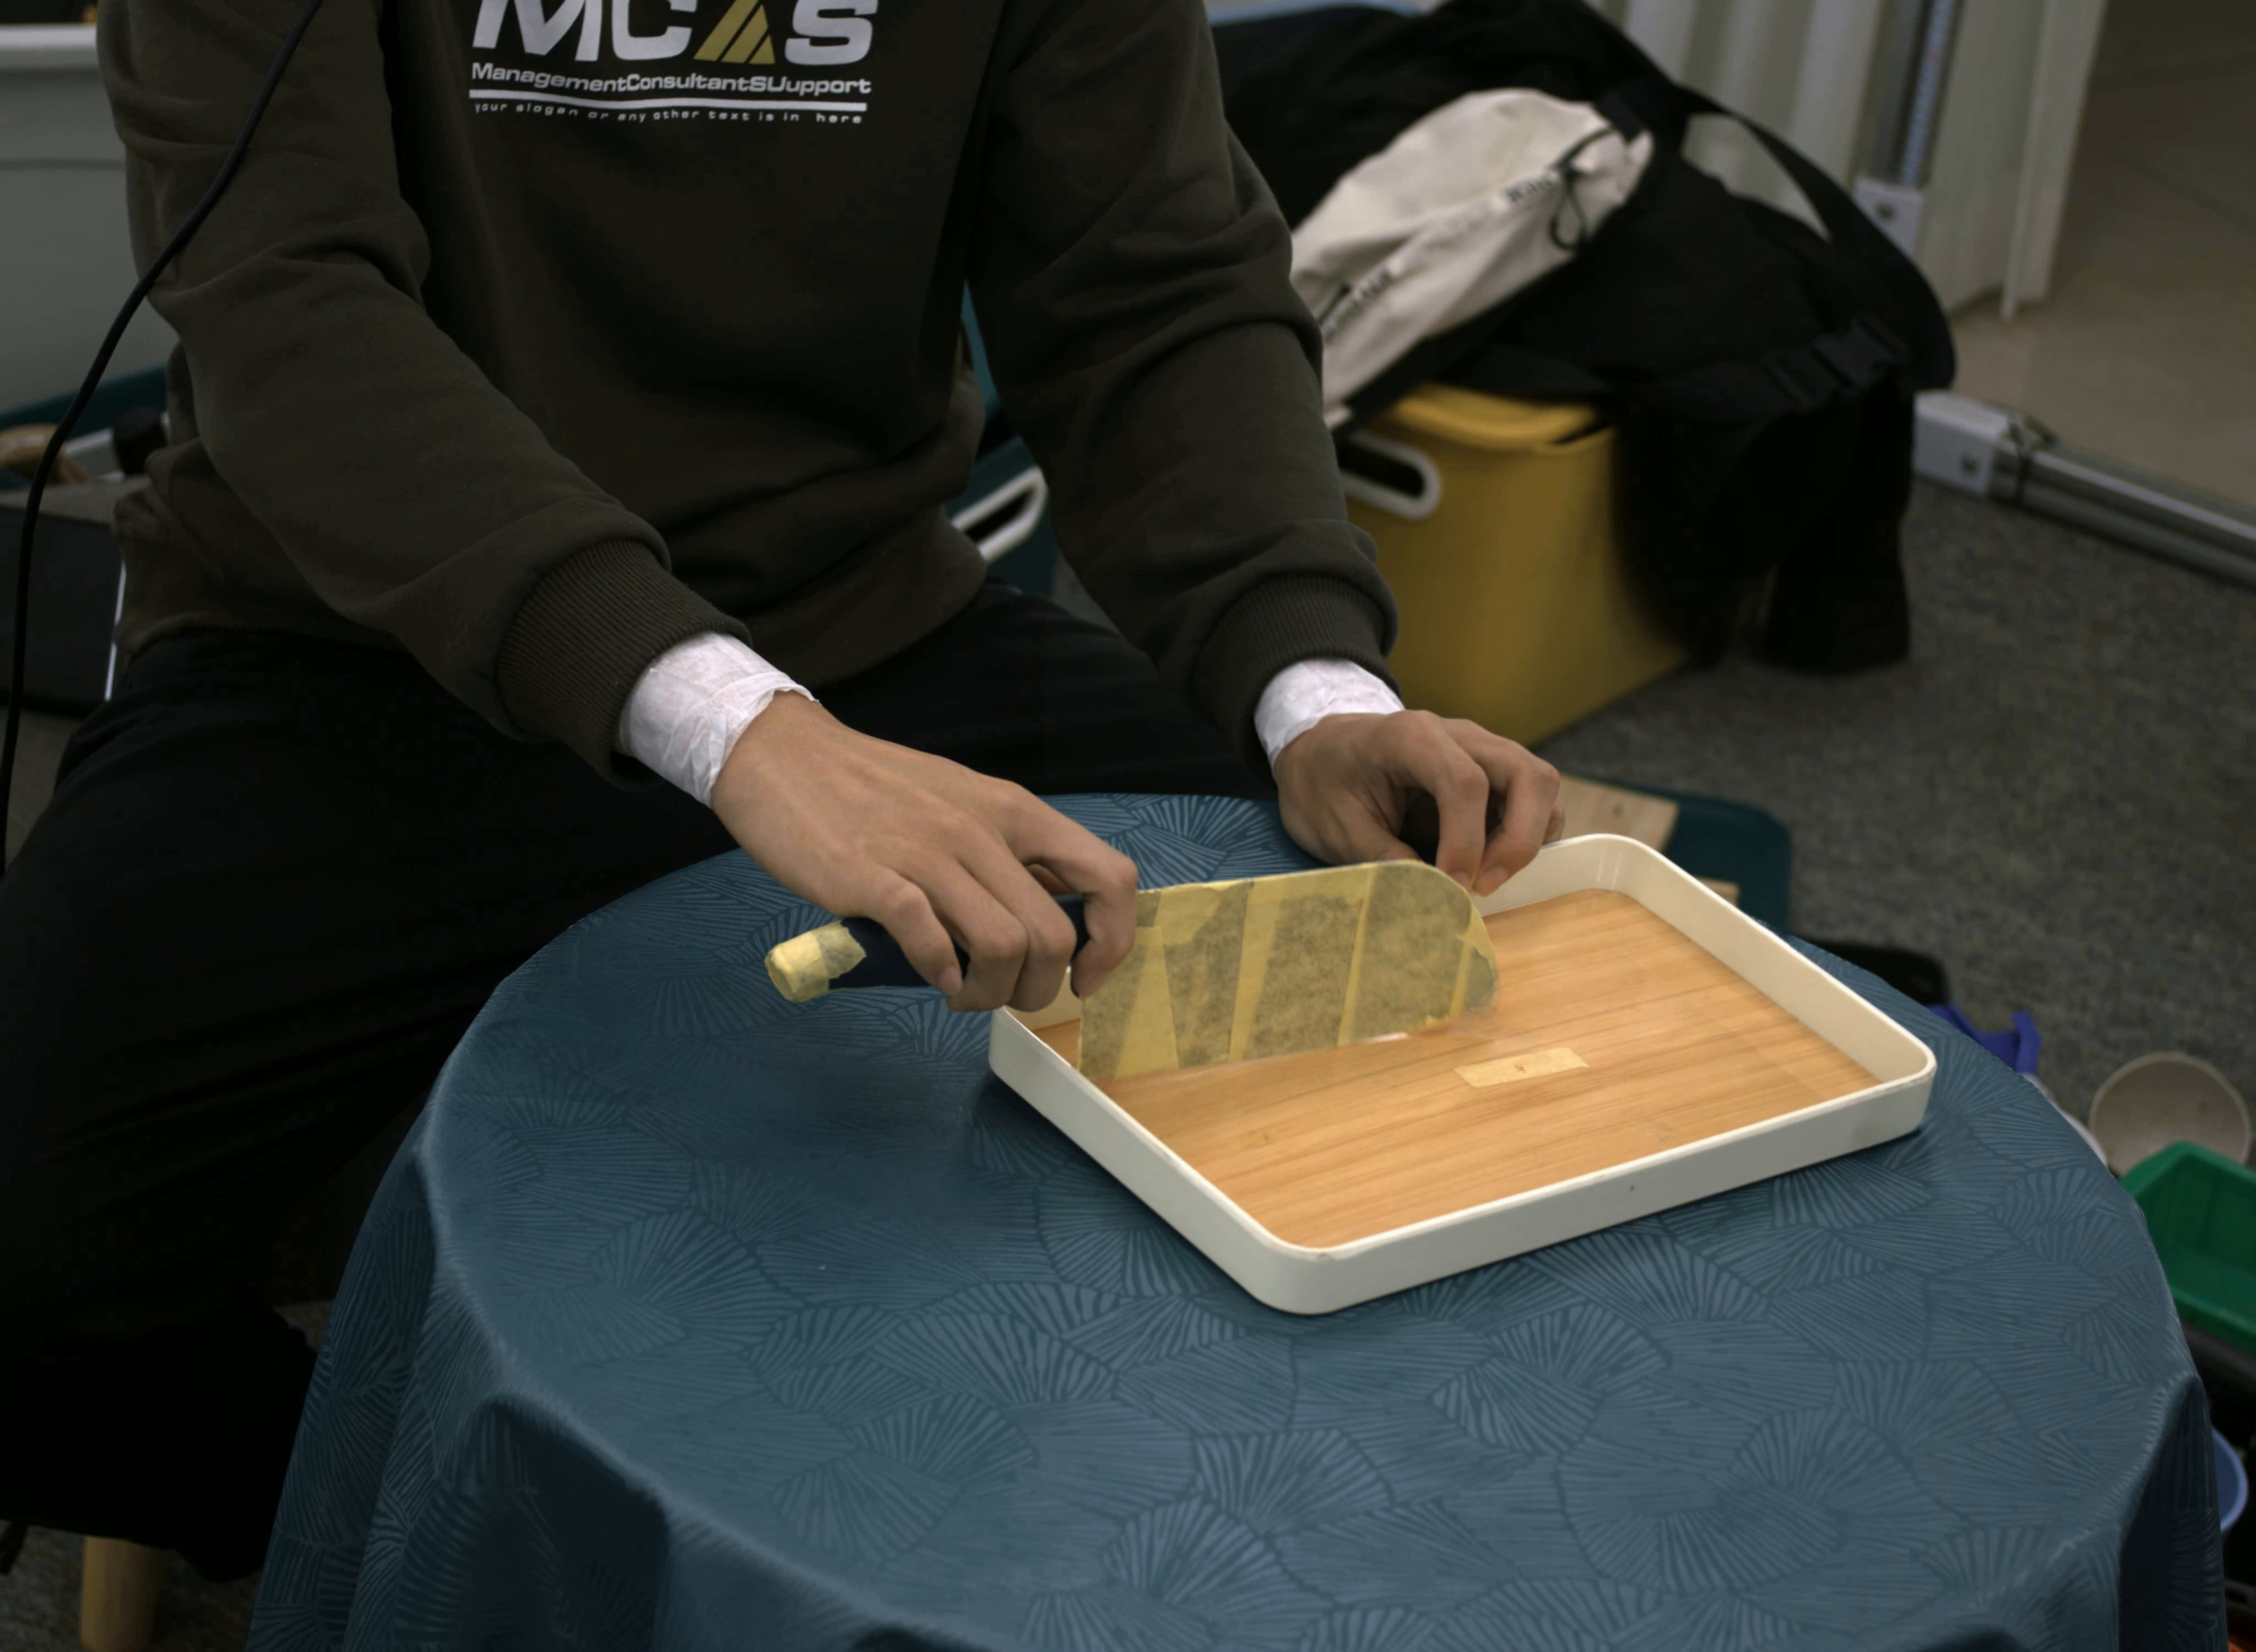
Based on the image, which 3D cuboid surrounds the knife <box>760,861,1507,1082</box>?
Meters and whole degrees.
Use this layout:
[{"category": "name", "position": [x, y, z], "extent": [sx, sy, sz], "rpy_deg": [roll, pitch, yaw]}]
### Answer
[{"category": "knife", "position": [0.006, 0.052, 1.836], "extent": [0.287, 0.081, 0.027], "rpy_deg": [-2, 22, -26]}]

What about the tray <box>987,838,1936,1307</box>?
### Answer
[{"category": "tray", "position": [0.118, 0.082, 1.878], "extent": [0.298, 0.027, 0.193], "rpy_deg": [-13, 33, -33]}]
